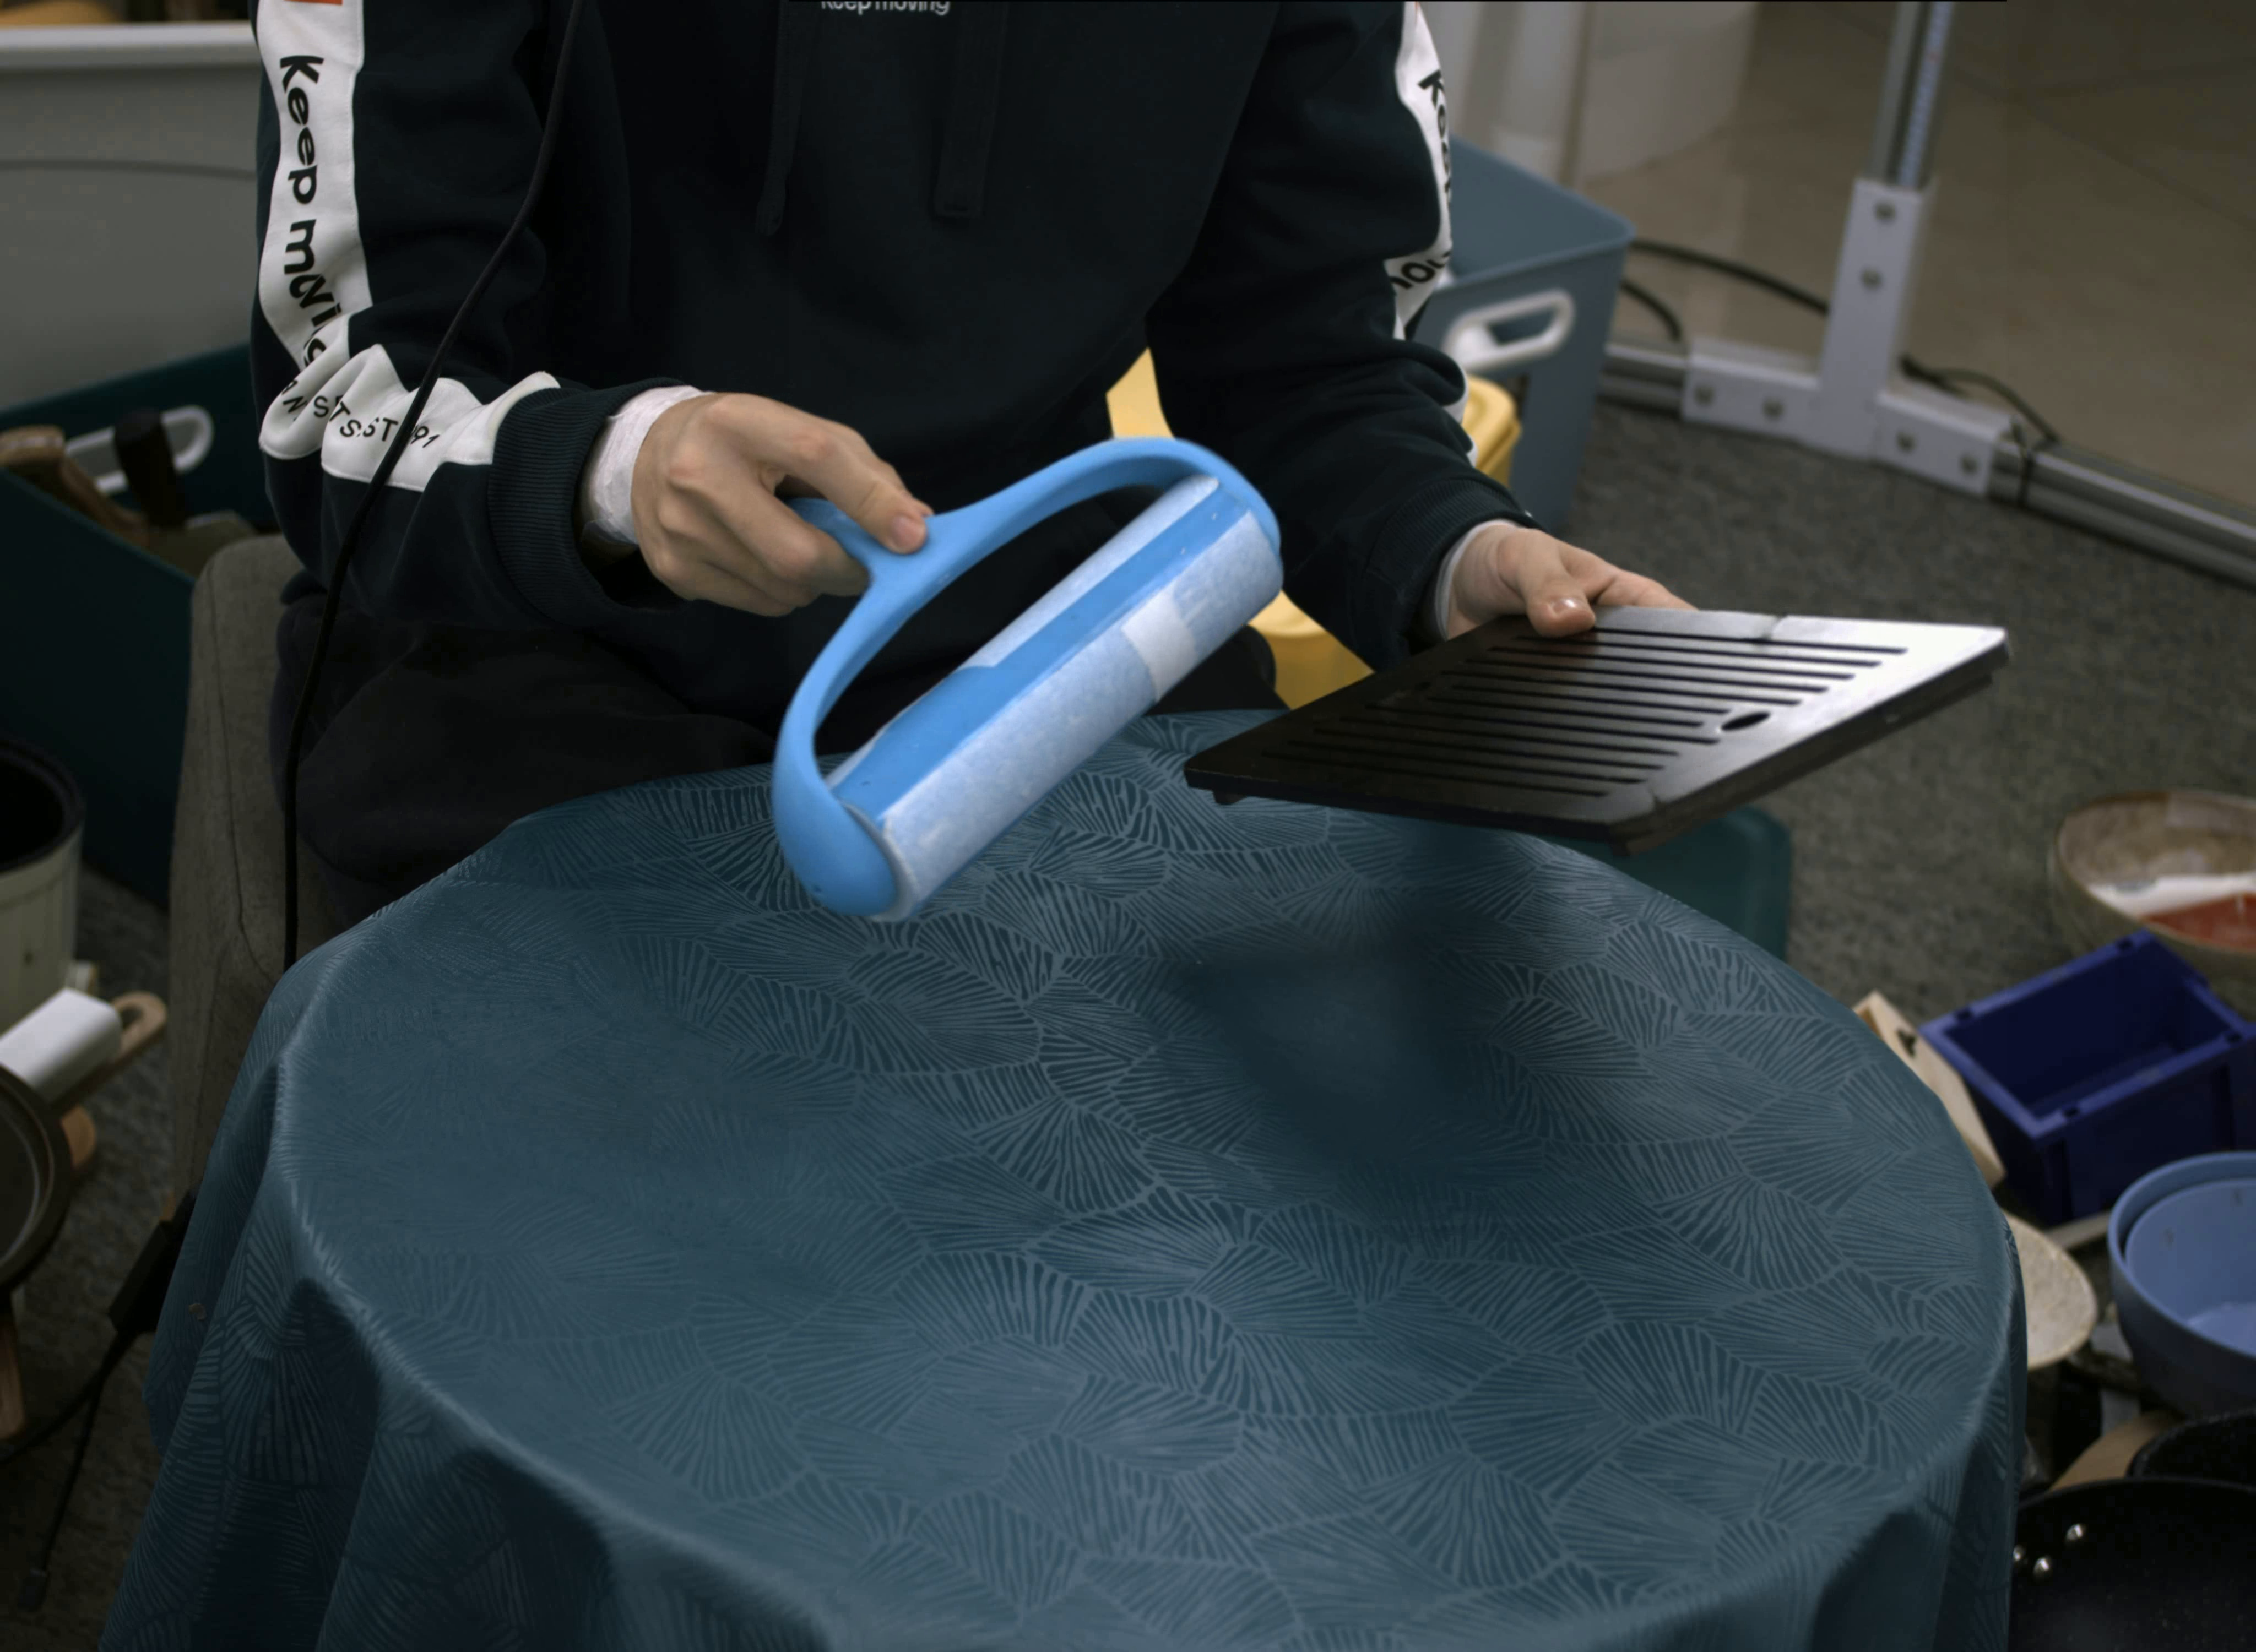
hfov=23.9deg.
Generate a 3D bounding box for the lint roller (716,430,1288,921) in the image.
[{"bbox_3d":[-0.073,-0.074,1.817,0.181,0.067,0.229,29,57,24],"label":"lint roller"}]

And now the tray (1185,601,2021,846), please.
[{"bbox_3d":[0.159,-0.038,1.851,0.169,0.018,0.307,-25,14,-24],"label":"tray"}]
